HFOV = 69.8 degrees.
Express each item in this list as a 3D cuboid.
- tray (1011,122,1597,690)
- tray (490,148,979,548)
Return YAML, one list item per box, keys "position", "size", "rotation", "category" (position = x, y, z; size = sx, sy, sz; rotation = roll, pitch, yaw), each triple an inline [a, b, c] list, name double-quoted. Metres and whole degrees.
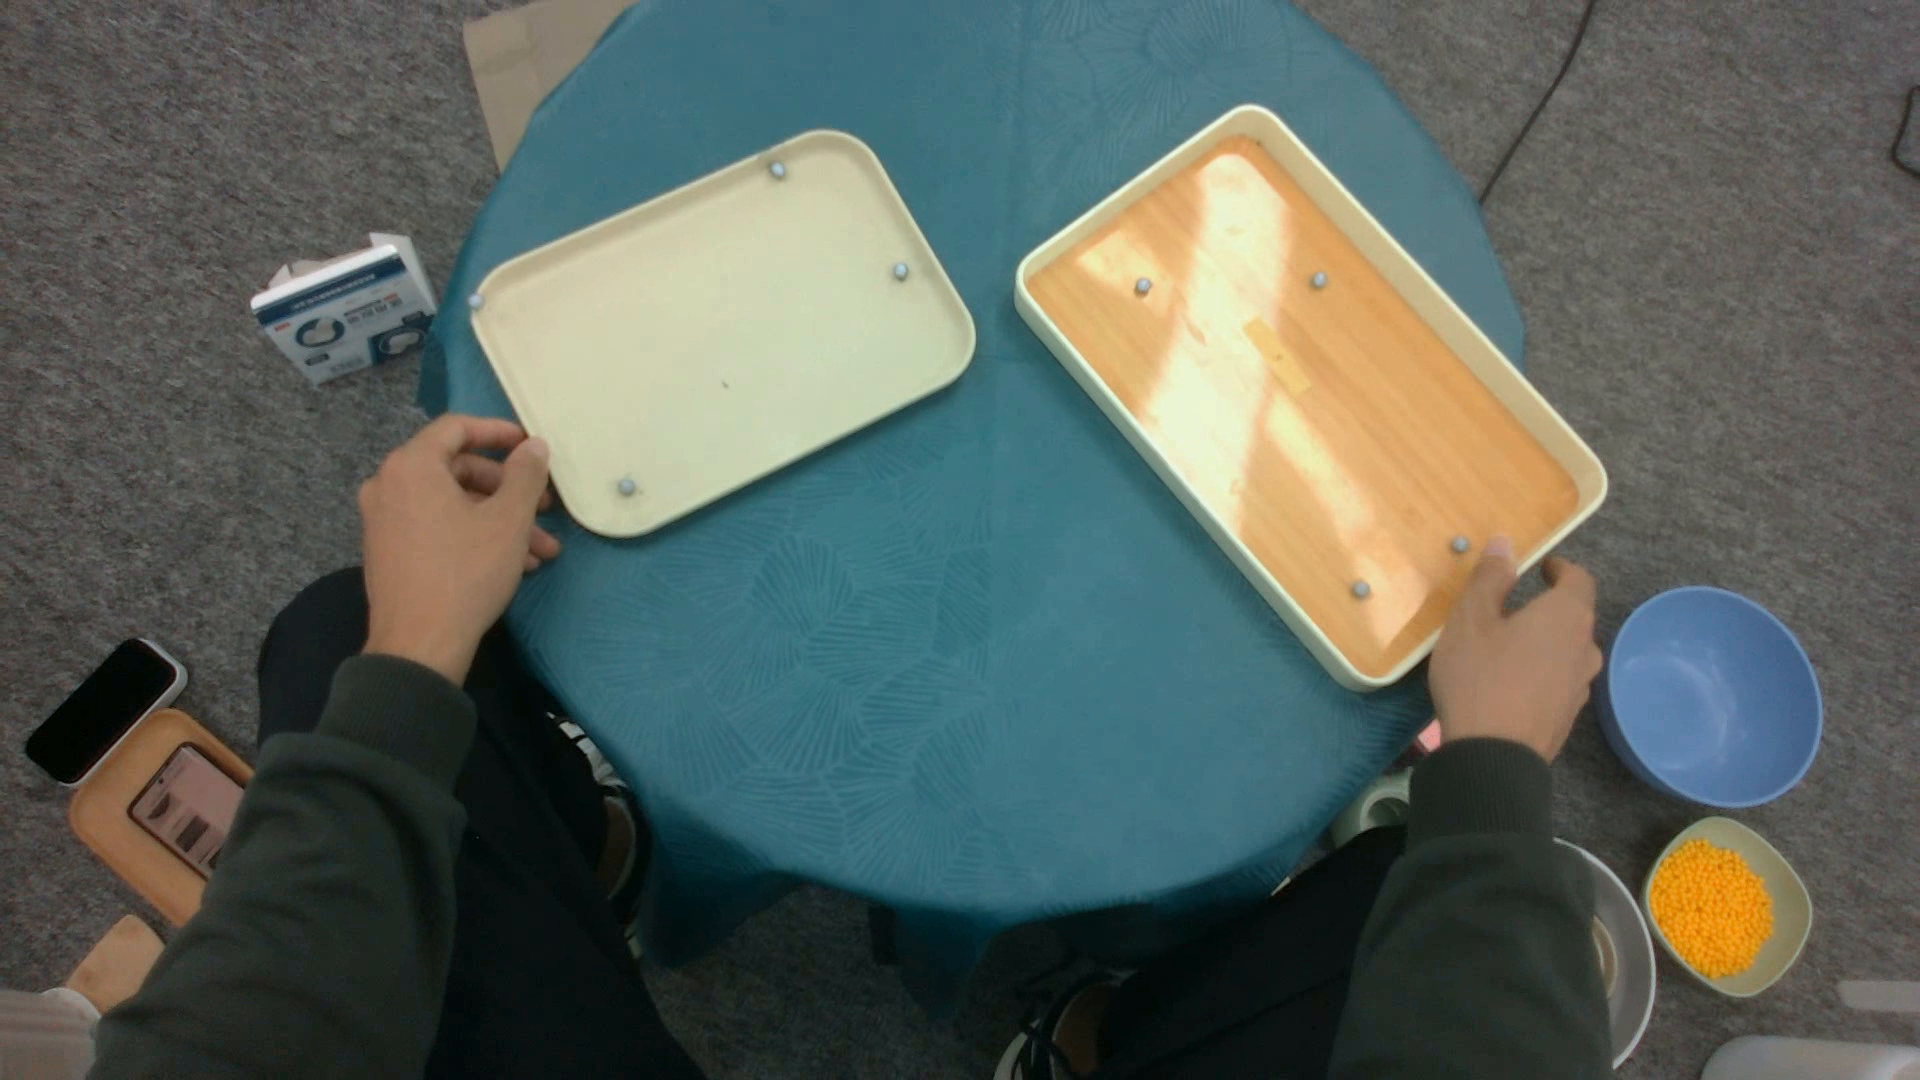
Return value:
- position: [0.189, -0.083, 0.773]
  size: [0.192, 0.027, 0.300]
  rotation: [-38, 78, -14]
  category: "tray"
- position: [-0.123, -0.110, 0.765]
  size: [0.240, 0.017, 0.171]
  rotation: [-28, 77, -12]
  category: "tray"
